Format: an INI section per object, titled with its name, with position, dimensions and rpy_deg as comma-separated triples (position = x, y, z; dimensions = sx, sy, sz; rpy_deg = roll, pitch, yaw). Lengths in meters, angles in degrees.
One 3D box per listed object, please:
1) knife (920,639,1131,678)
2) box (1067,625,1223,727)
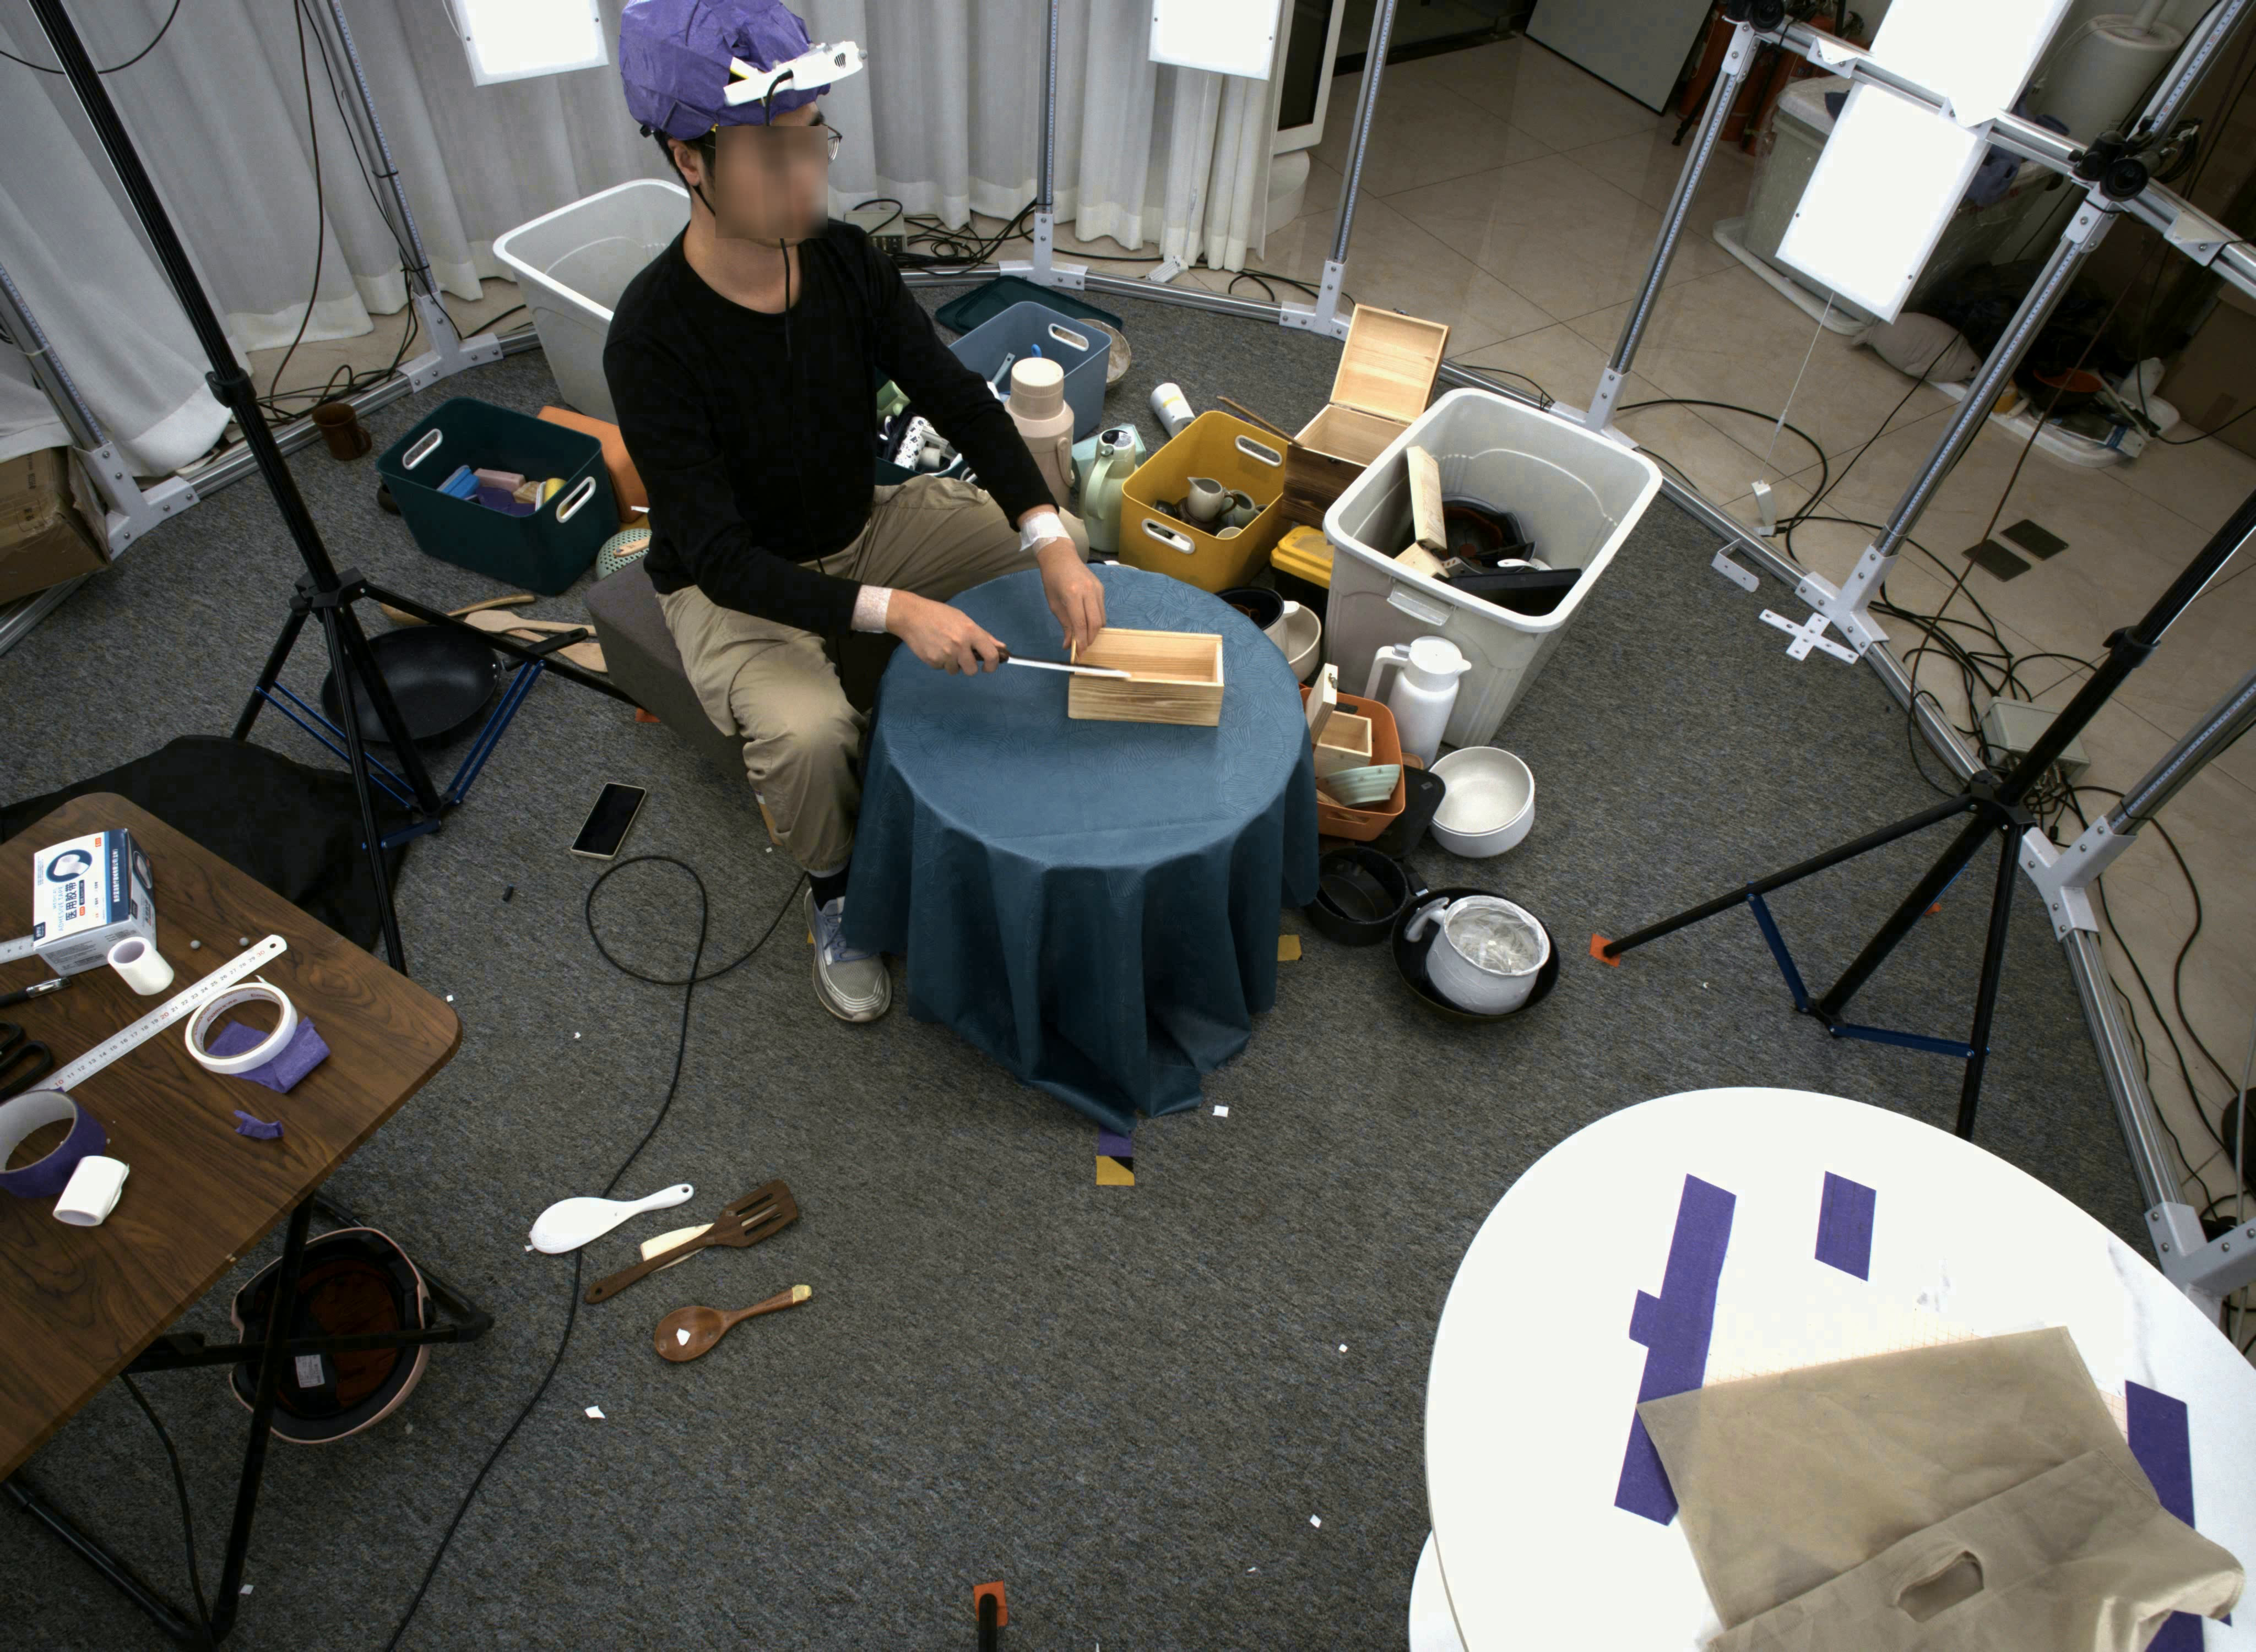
[knife]
position = -0.138, -0.222, 1.734
dimensions = 0.289, 0.020, 0.051
rpy_deg = 8, 22, 0
[box]
position = 0.023, -0.211, 1.803
dimensions = 0.211, 0.078, 0.110
rpy_deg = 4, 48, -2
